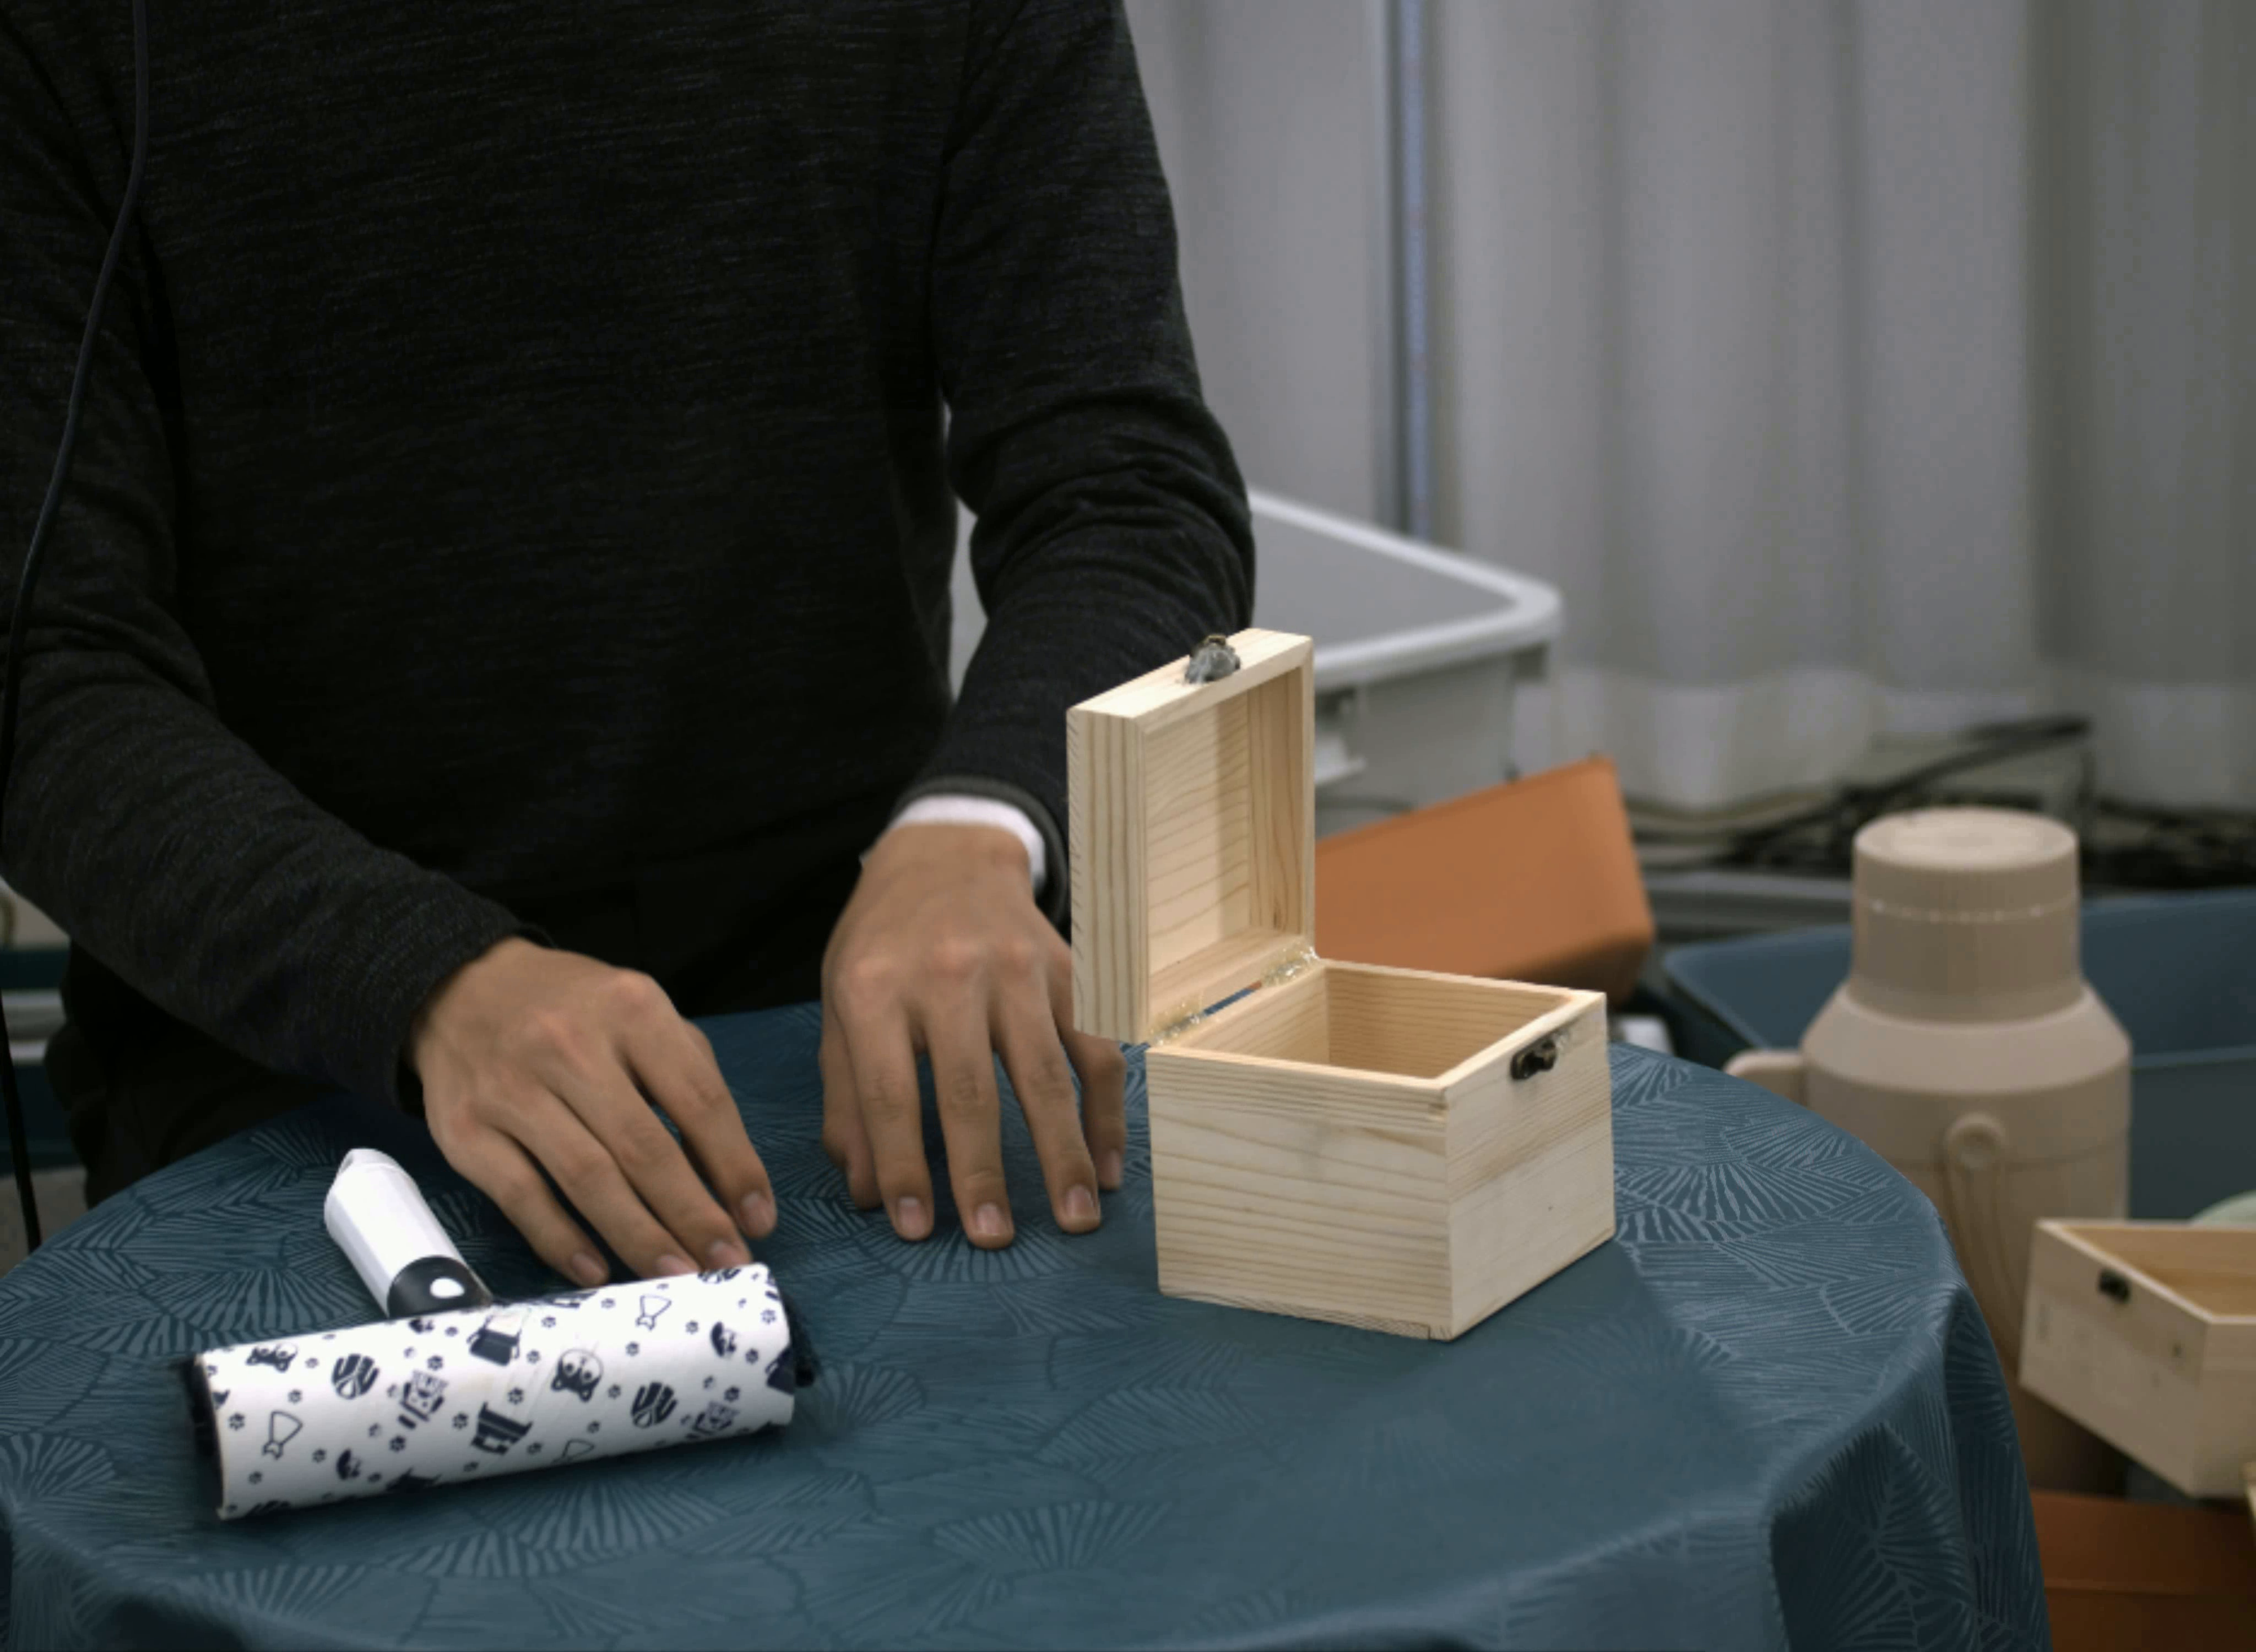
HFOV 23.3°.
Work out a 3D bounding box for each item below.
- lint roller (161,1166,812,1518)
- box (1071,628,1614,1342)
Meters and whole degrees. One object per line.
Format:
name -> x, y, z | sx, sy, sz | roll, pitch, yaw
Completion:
lint roller -> -0.207, 0.134, 1.599 | 0.175, 0.050, 0.249 | -9, 15, -17
box -> 0.066, 0.043, 1.617 | 0.134, 0.184, 0.102 | 5, 15, 32
